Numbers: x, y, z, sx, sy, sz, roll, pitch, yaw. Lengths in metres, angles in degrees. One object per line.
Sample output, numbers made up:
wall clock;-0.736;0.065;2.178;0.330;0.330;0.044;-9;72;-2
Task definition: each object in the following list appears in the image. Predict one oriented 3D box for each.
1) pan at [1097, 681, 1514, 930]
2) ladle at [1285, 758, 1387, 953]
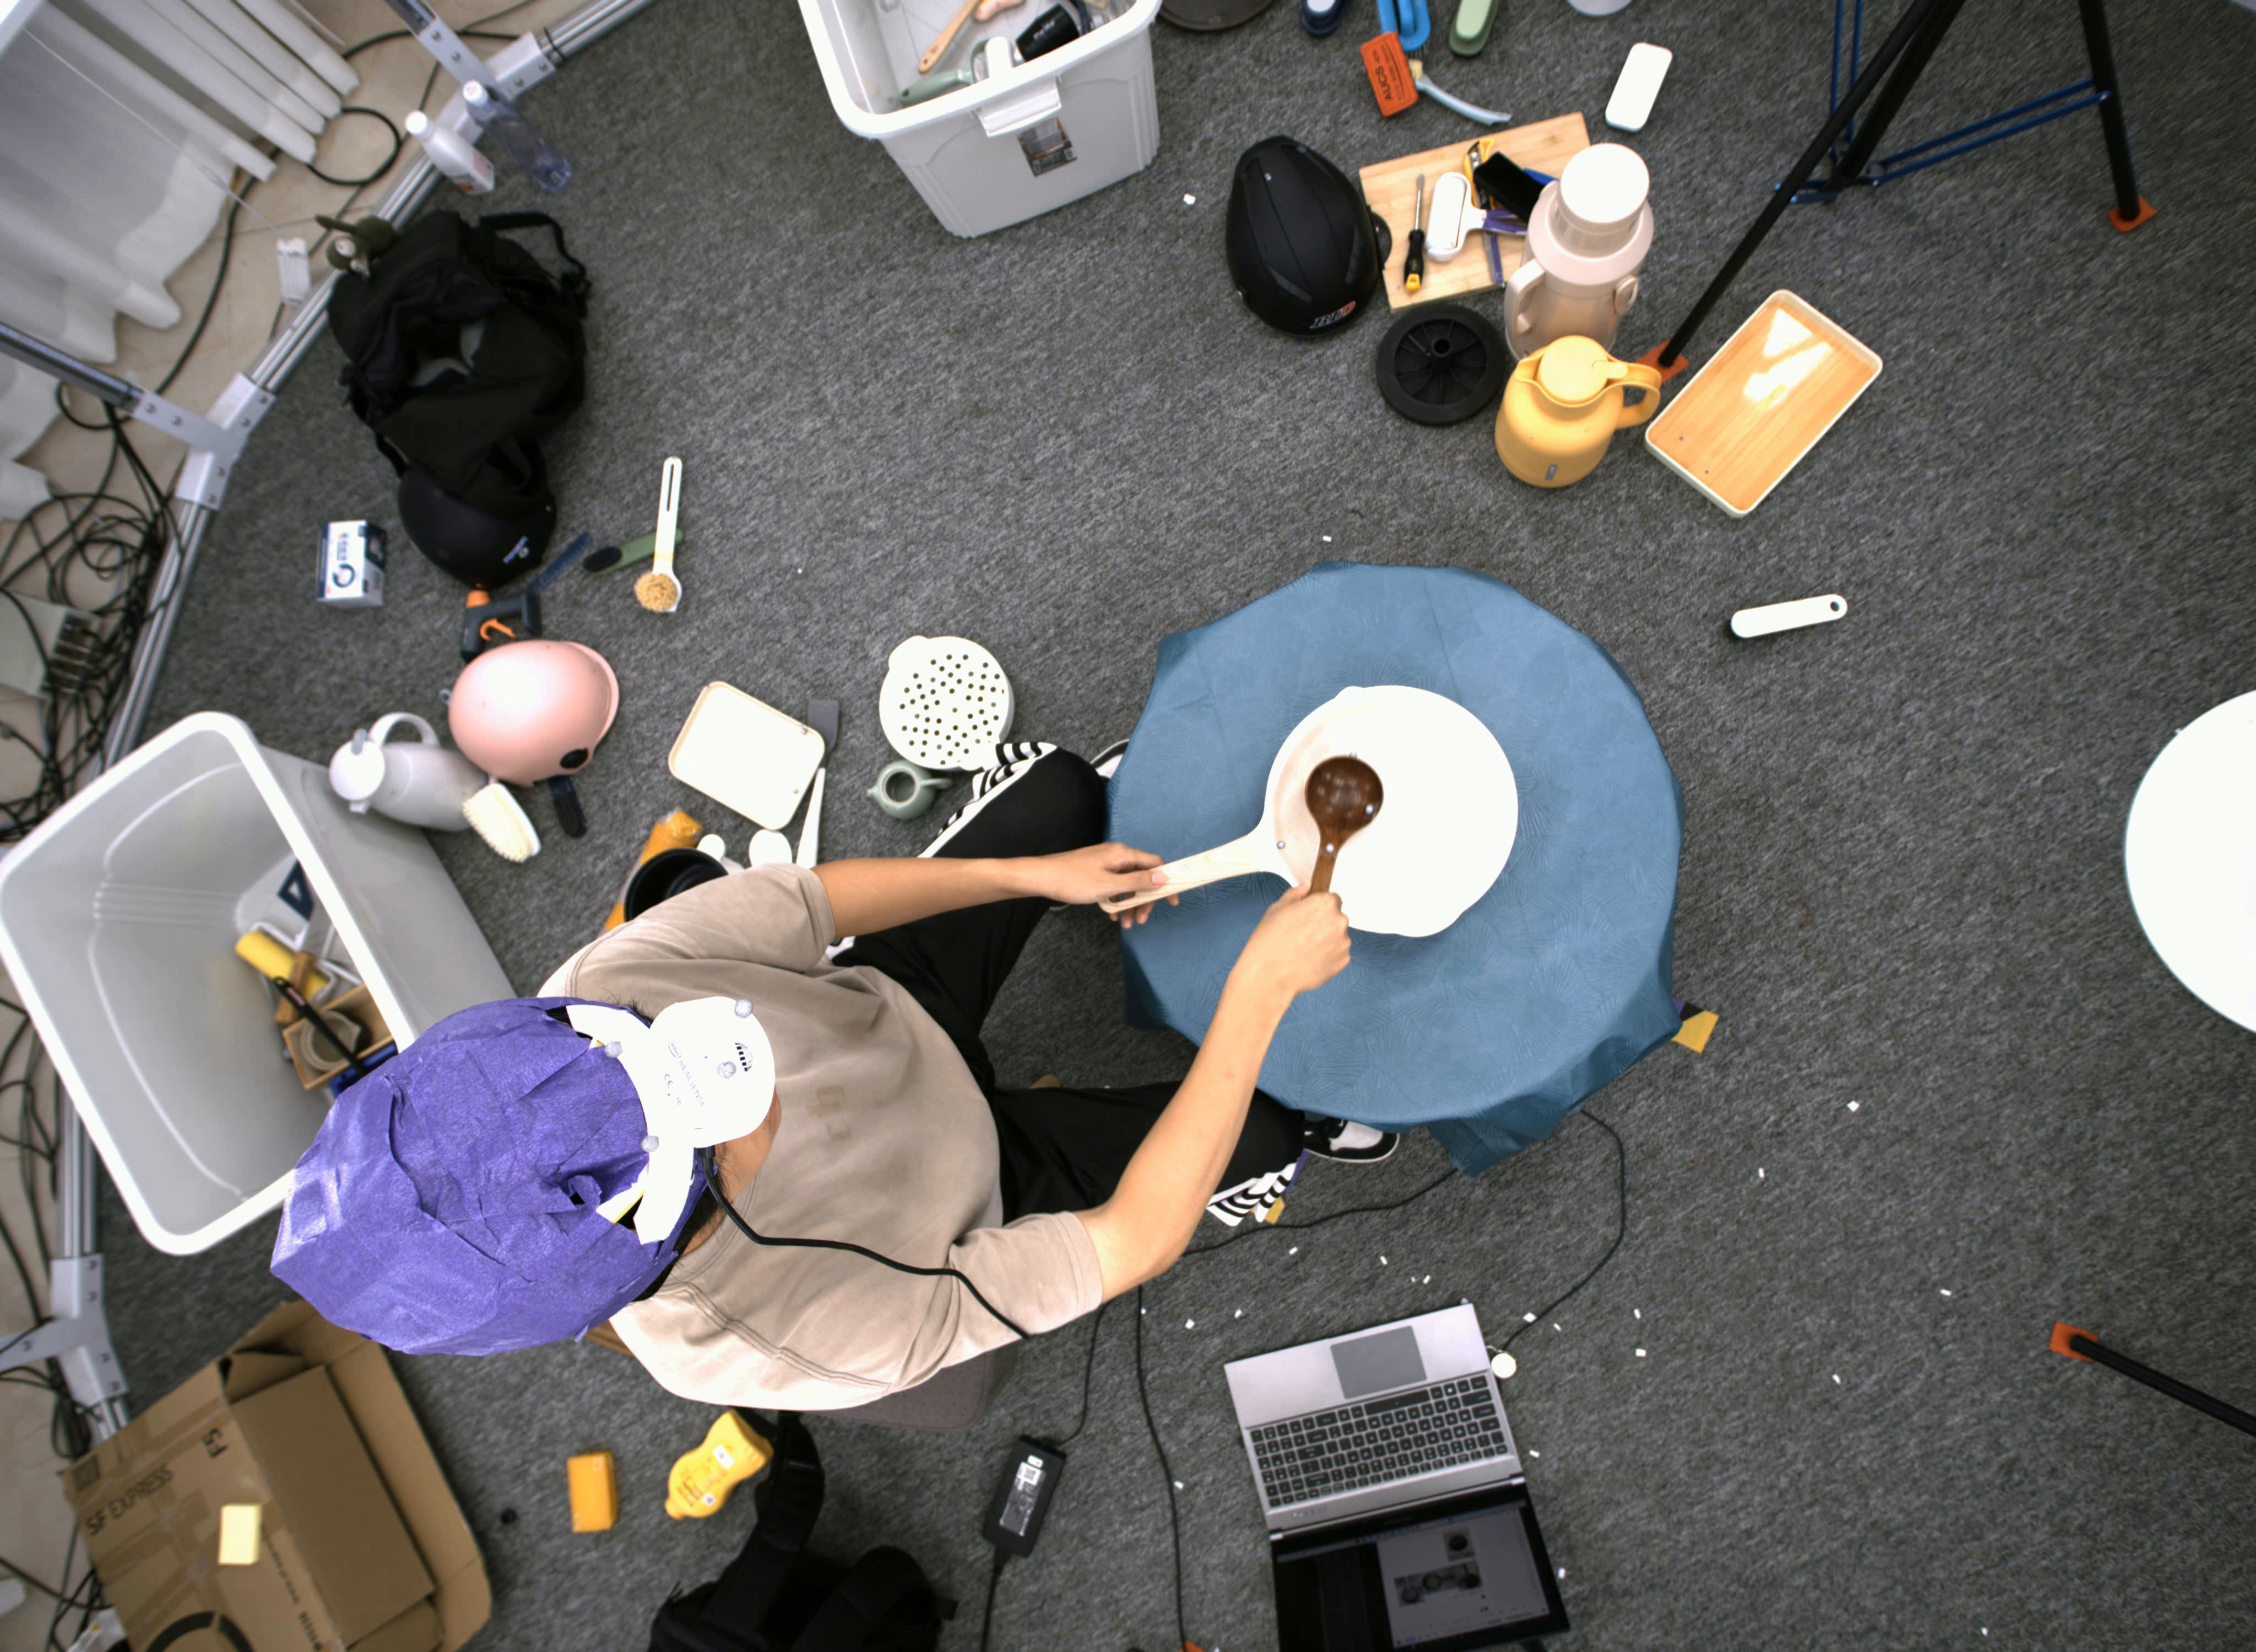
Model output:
pan;0.180;0.010;1.431;0.437;0.102;0.262;-19;85;9
ladle;0.195;0.019;1.334;0.082;0.267;0.078;11;121;13
